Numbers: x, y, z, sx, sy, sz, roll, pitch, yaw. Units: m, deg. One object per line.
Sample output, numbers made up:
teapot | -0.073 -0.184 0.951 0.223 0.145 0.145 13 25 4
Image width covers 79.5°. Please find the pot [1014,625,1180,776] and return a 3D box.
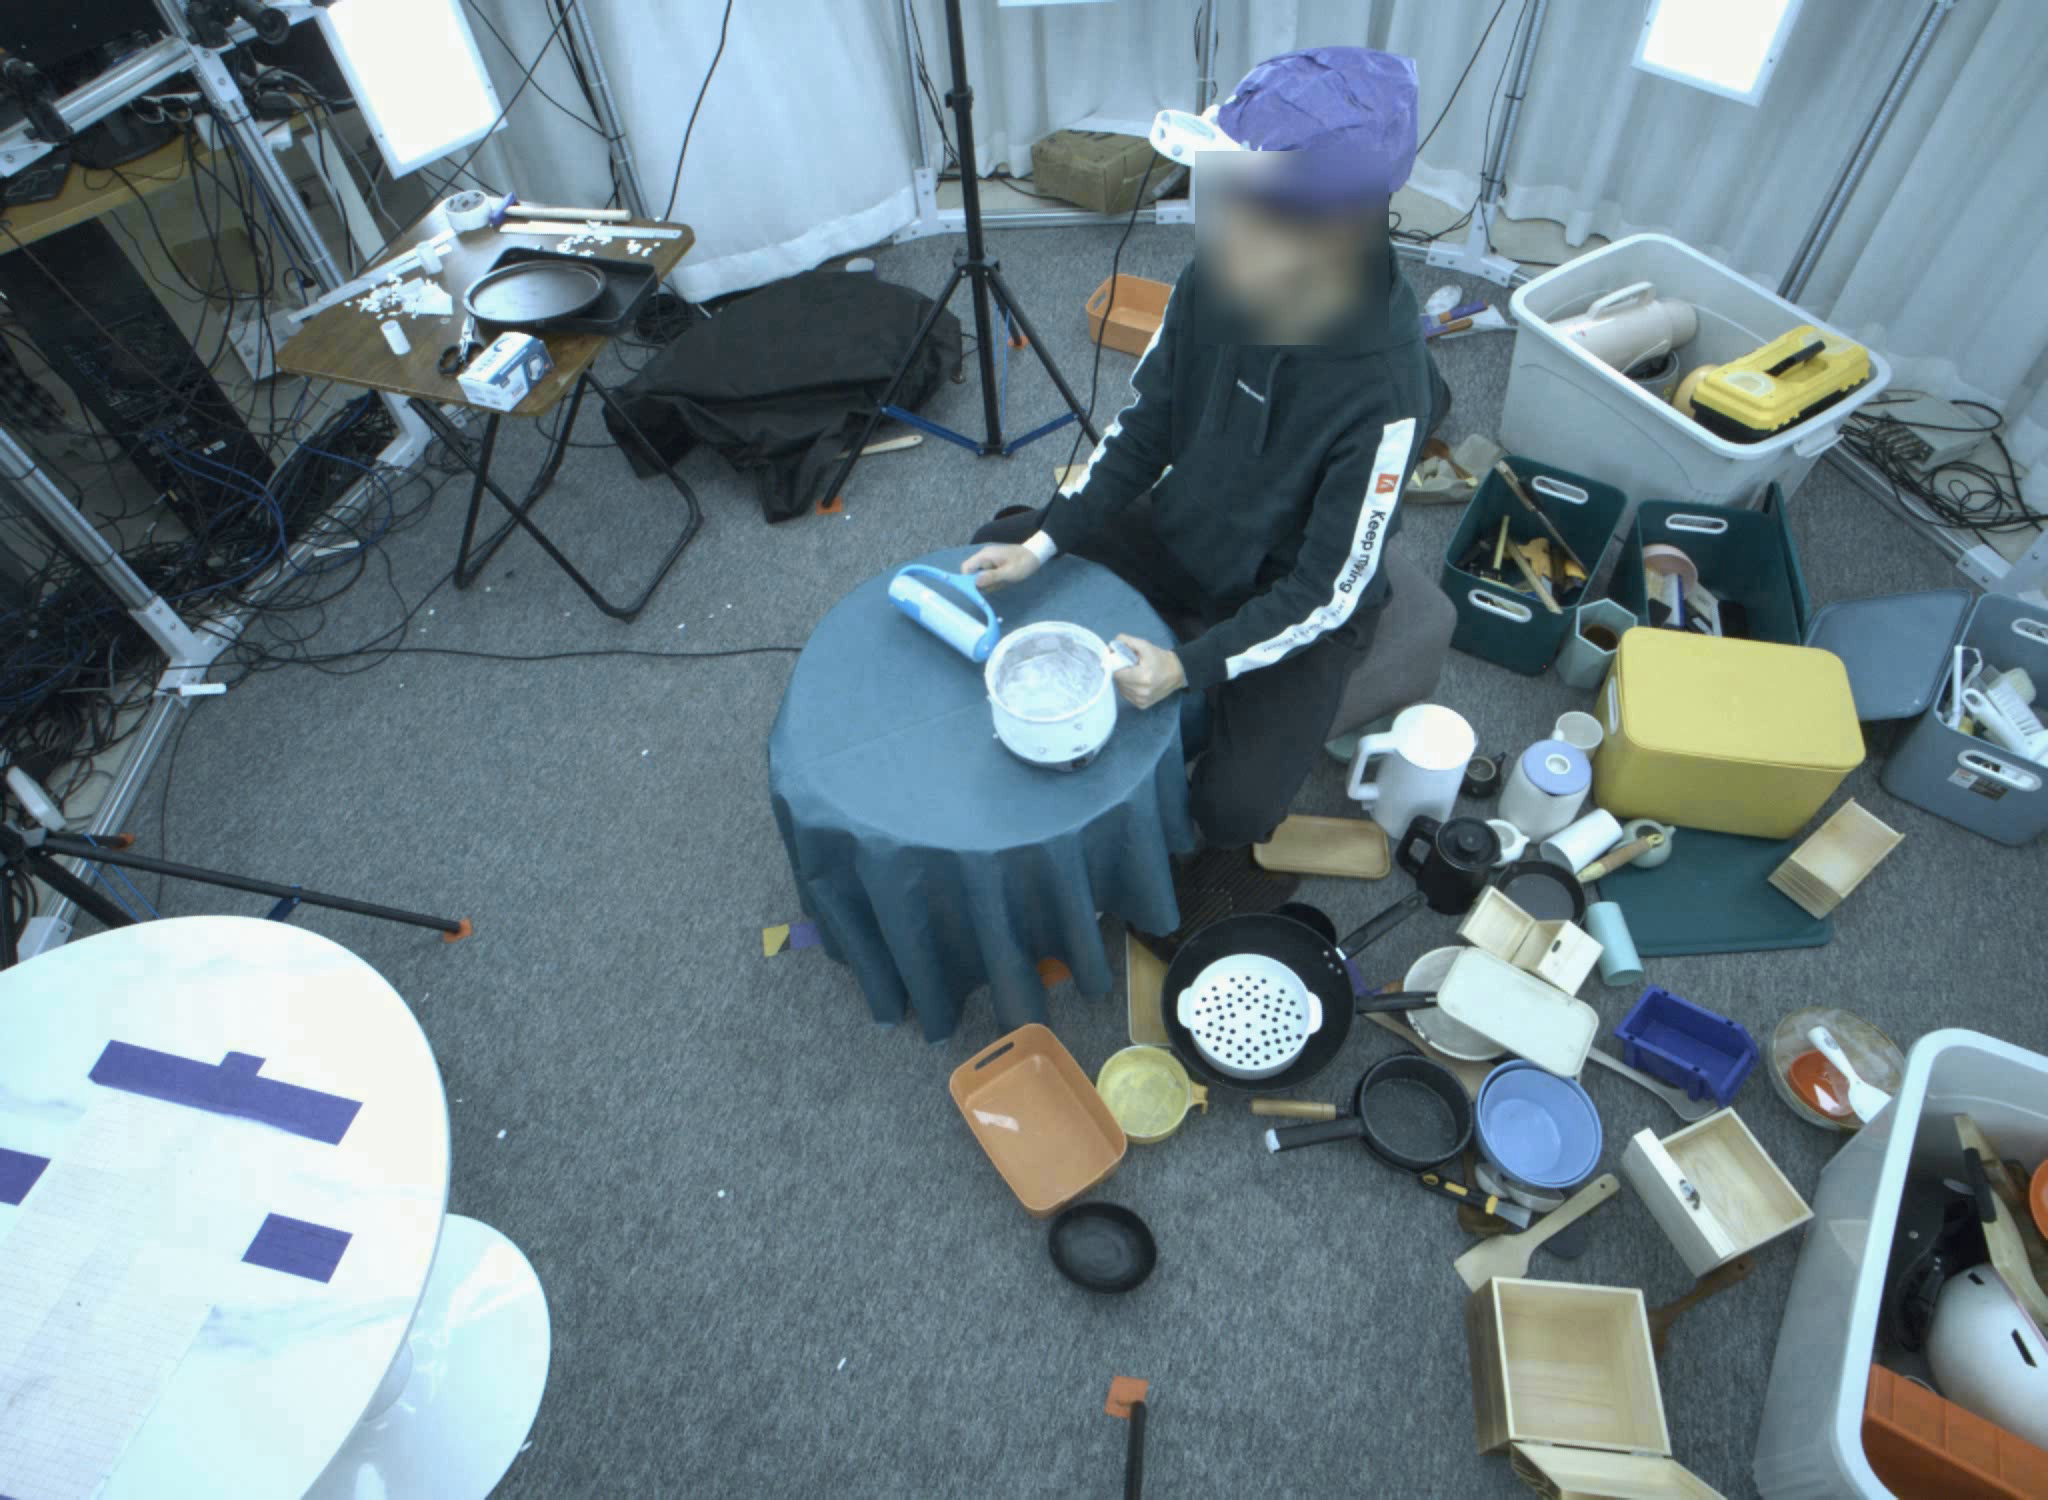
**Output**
pot | 0.108 -0.078 1.738 0.235 0.138 0.175 -21 57 -7

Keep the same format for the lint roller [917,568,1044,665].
lint roller | -0.041 -0.236 1.884 0.224 0.069 0.181 33 64 28
